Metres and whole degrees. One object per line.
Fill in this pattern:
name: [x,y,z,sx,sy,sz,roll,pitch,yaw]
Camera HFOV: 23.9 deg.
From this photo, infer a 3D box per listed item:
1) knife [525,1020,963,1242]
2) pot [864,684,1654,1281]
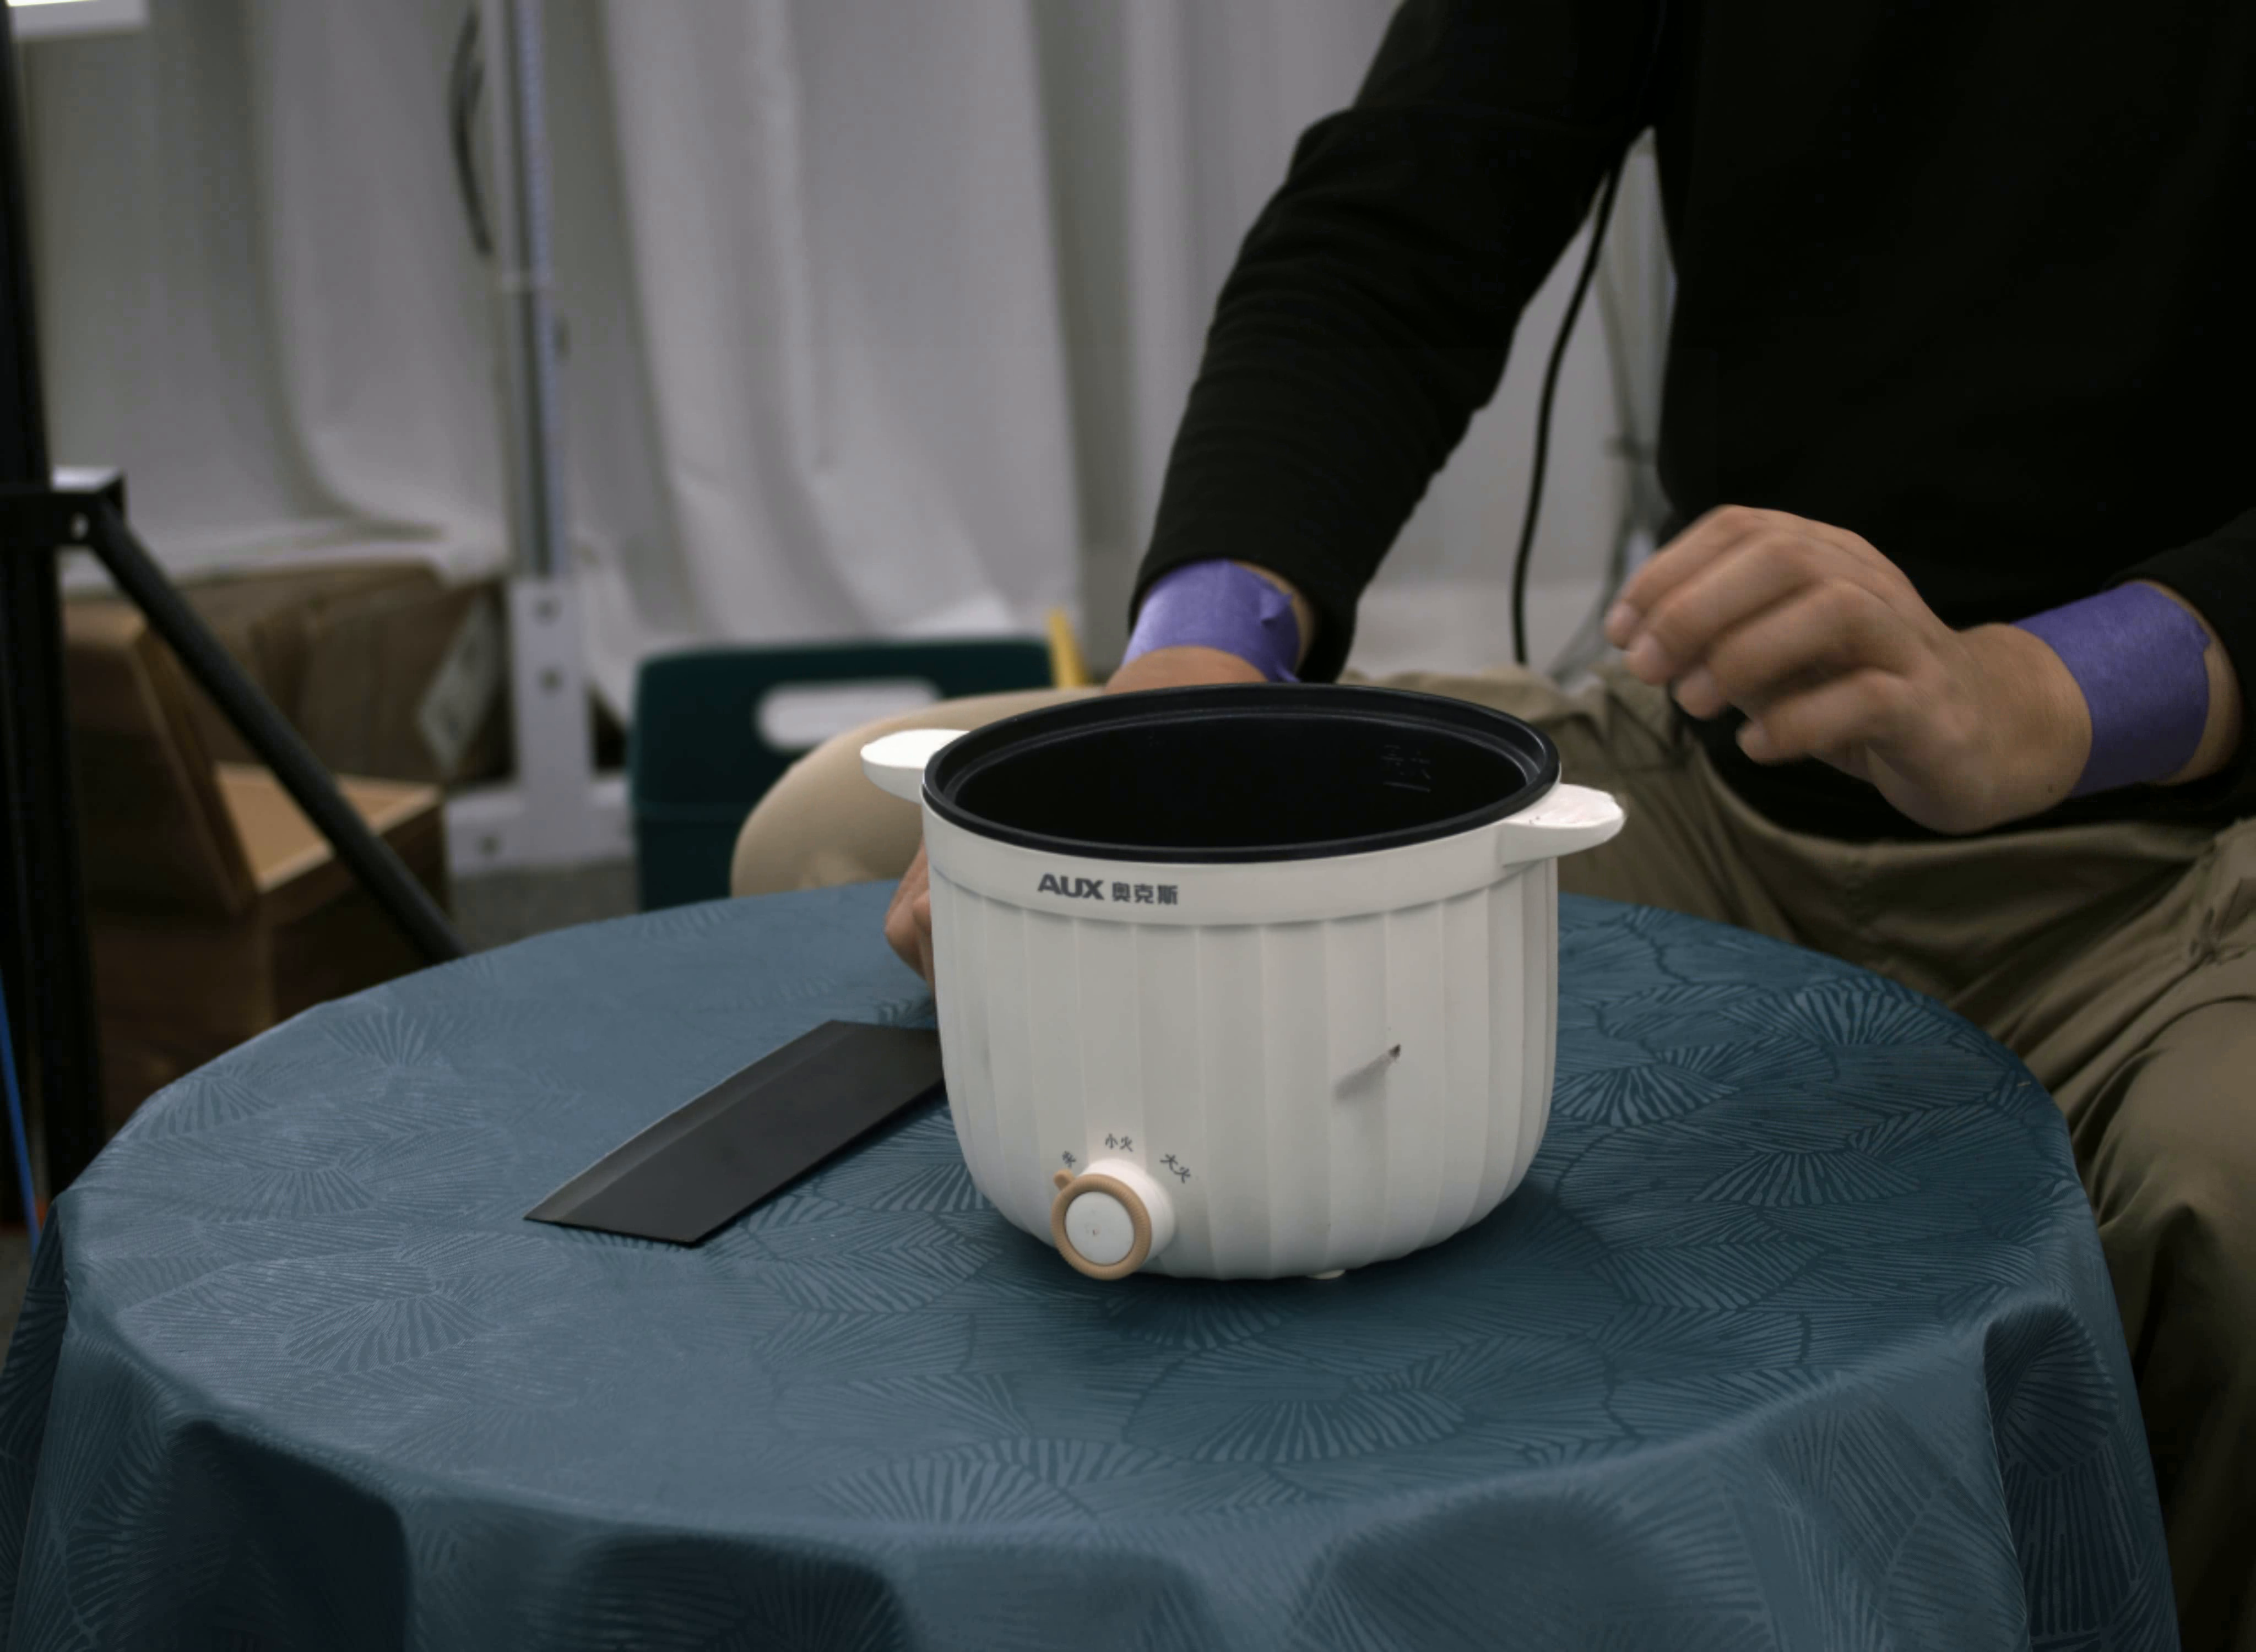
knife: [-0.077,0.074,1.662,0.082,0.021,0.296,8,21,34]
pot: [0.034,0.048,1.511,0.244,0.143,0.187,4,13,26]
